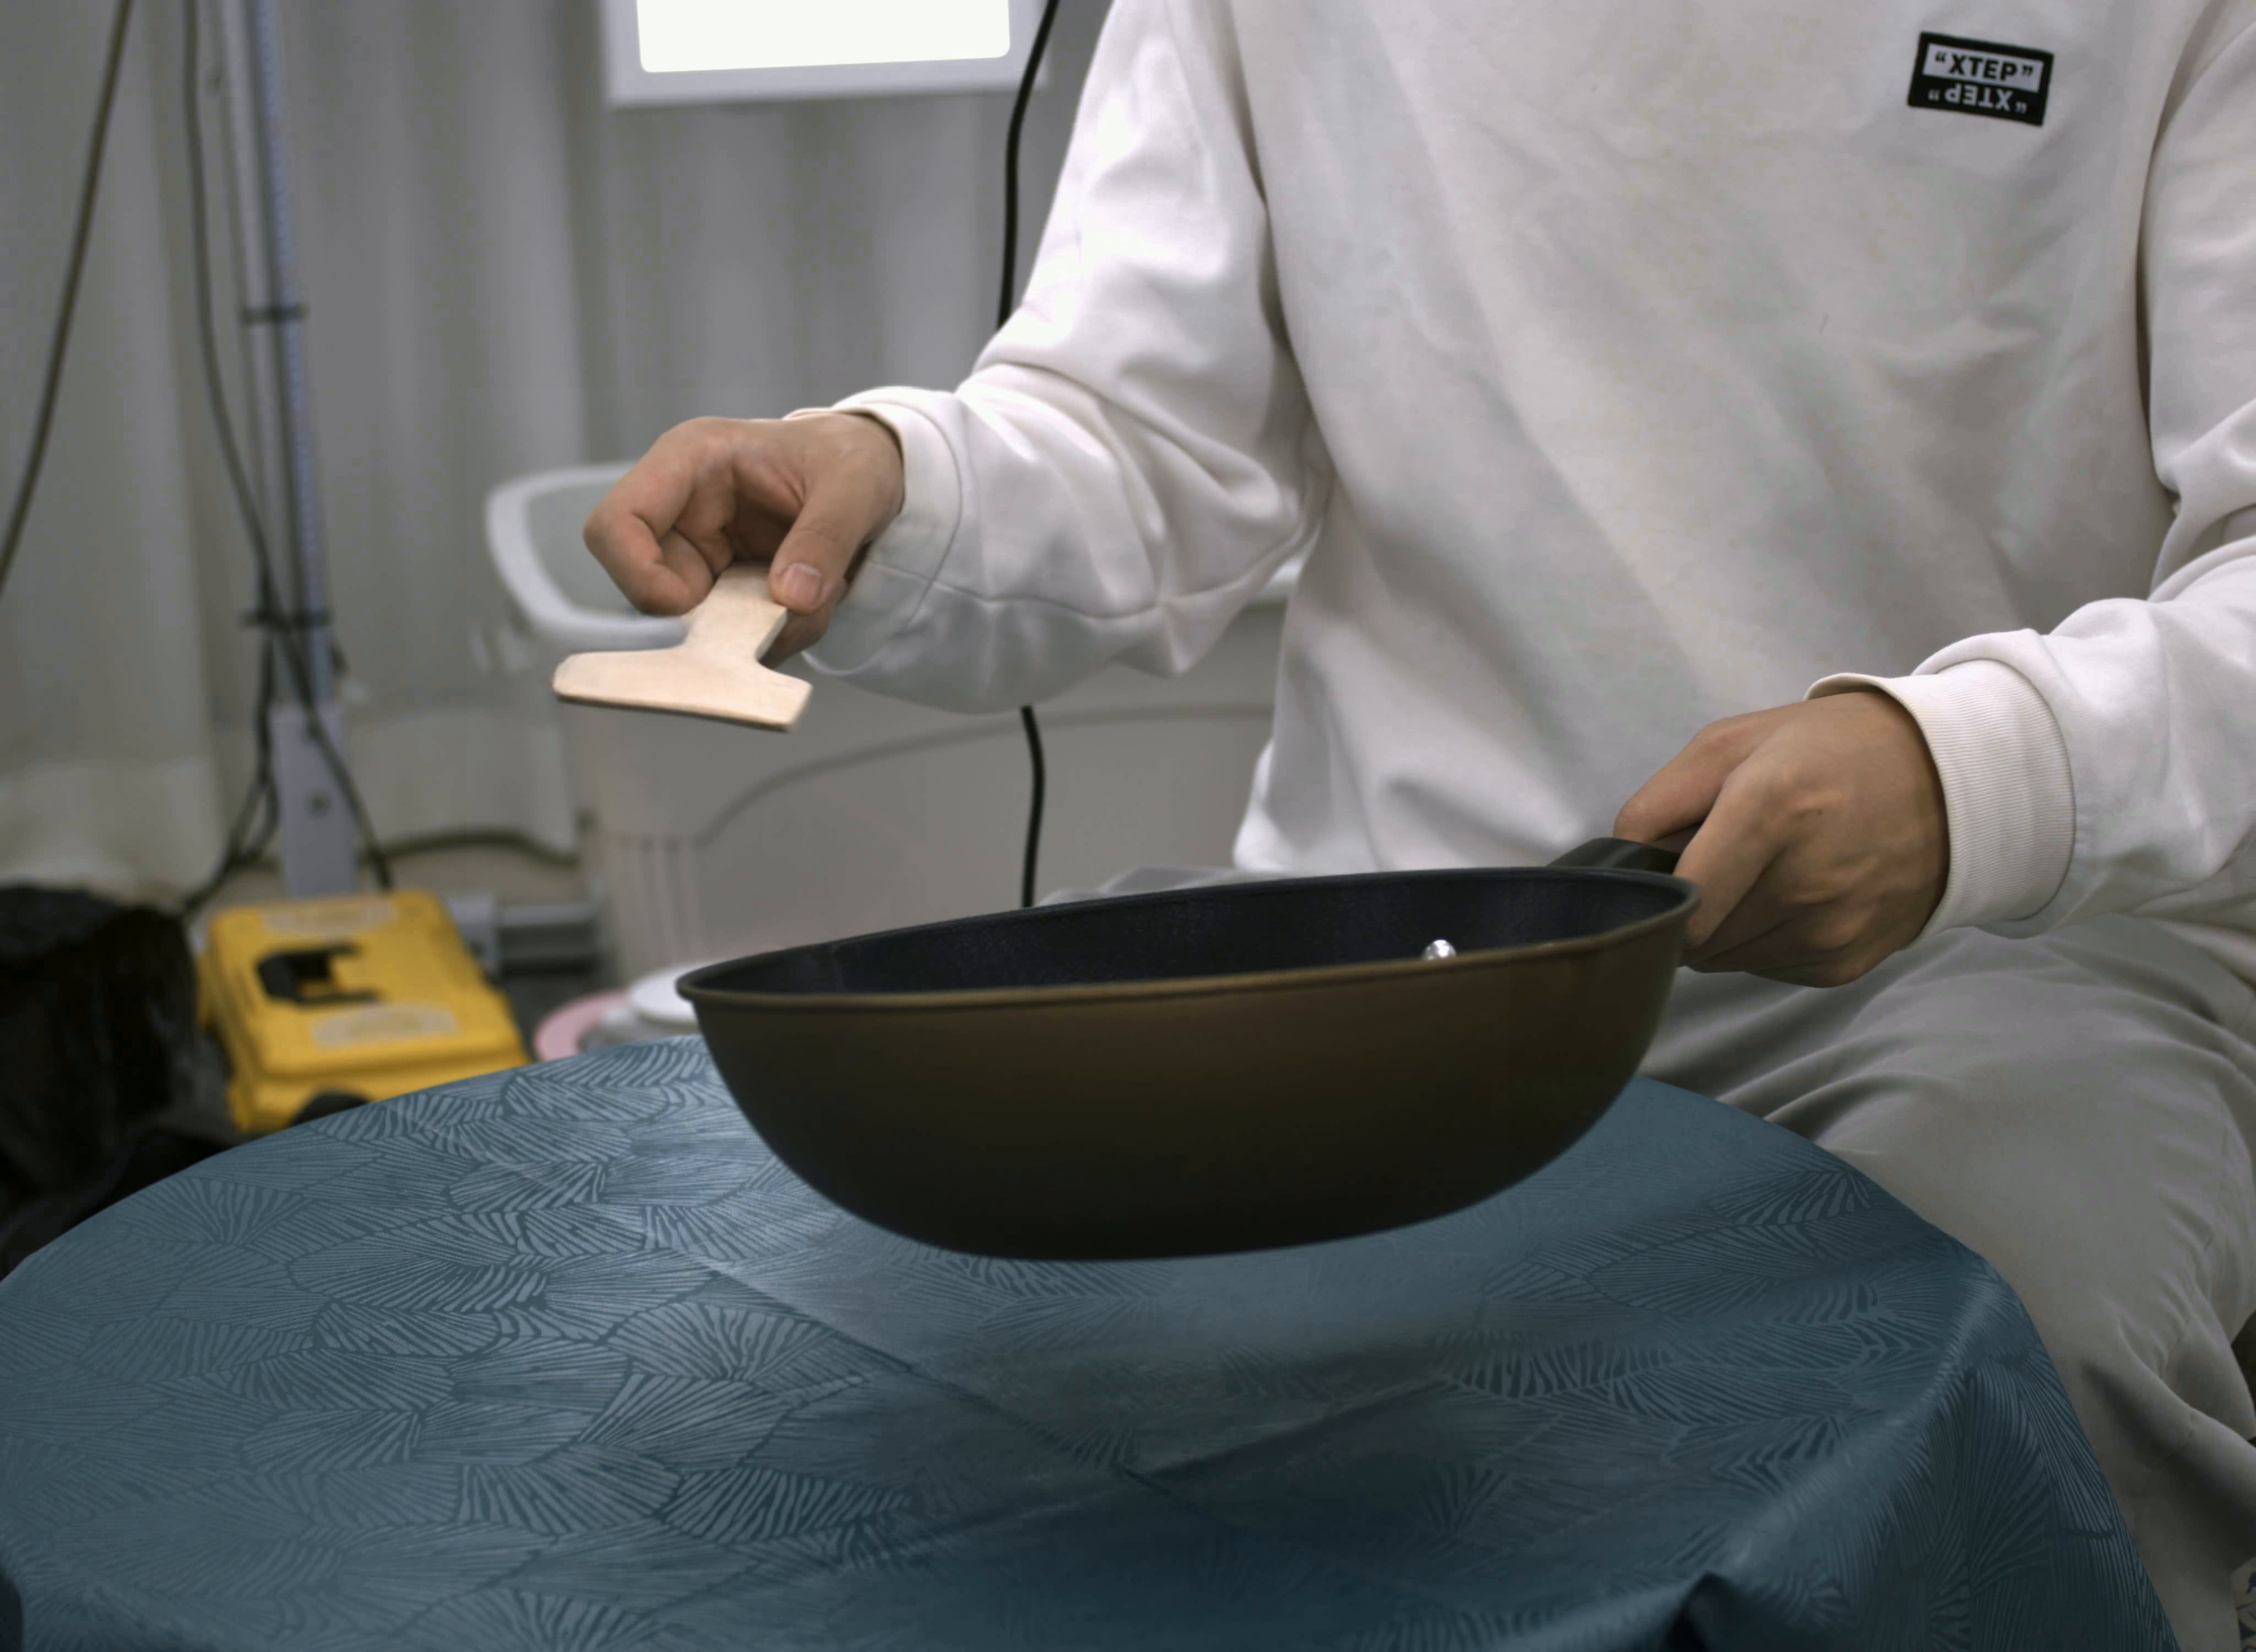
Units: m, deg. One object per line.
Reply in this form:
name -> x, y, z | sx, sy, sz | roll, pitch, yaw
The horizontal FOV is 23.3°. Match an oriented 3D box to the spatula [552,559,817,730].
spatula -> -0.126, -0.059, 1.715 | 0.072, 0.010, 0.294 | 7, 11, 1

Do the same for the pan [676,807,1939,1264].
pan -> 0.082, 0.057, 1.553 | 0.289, 0.087, 0.461 | -1, 5, 44
